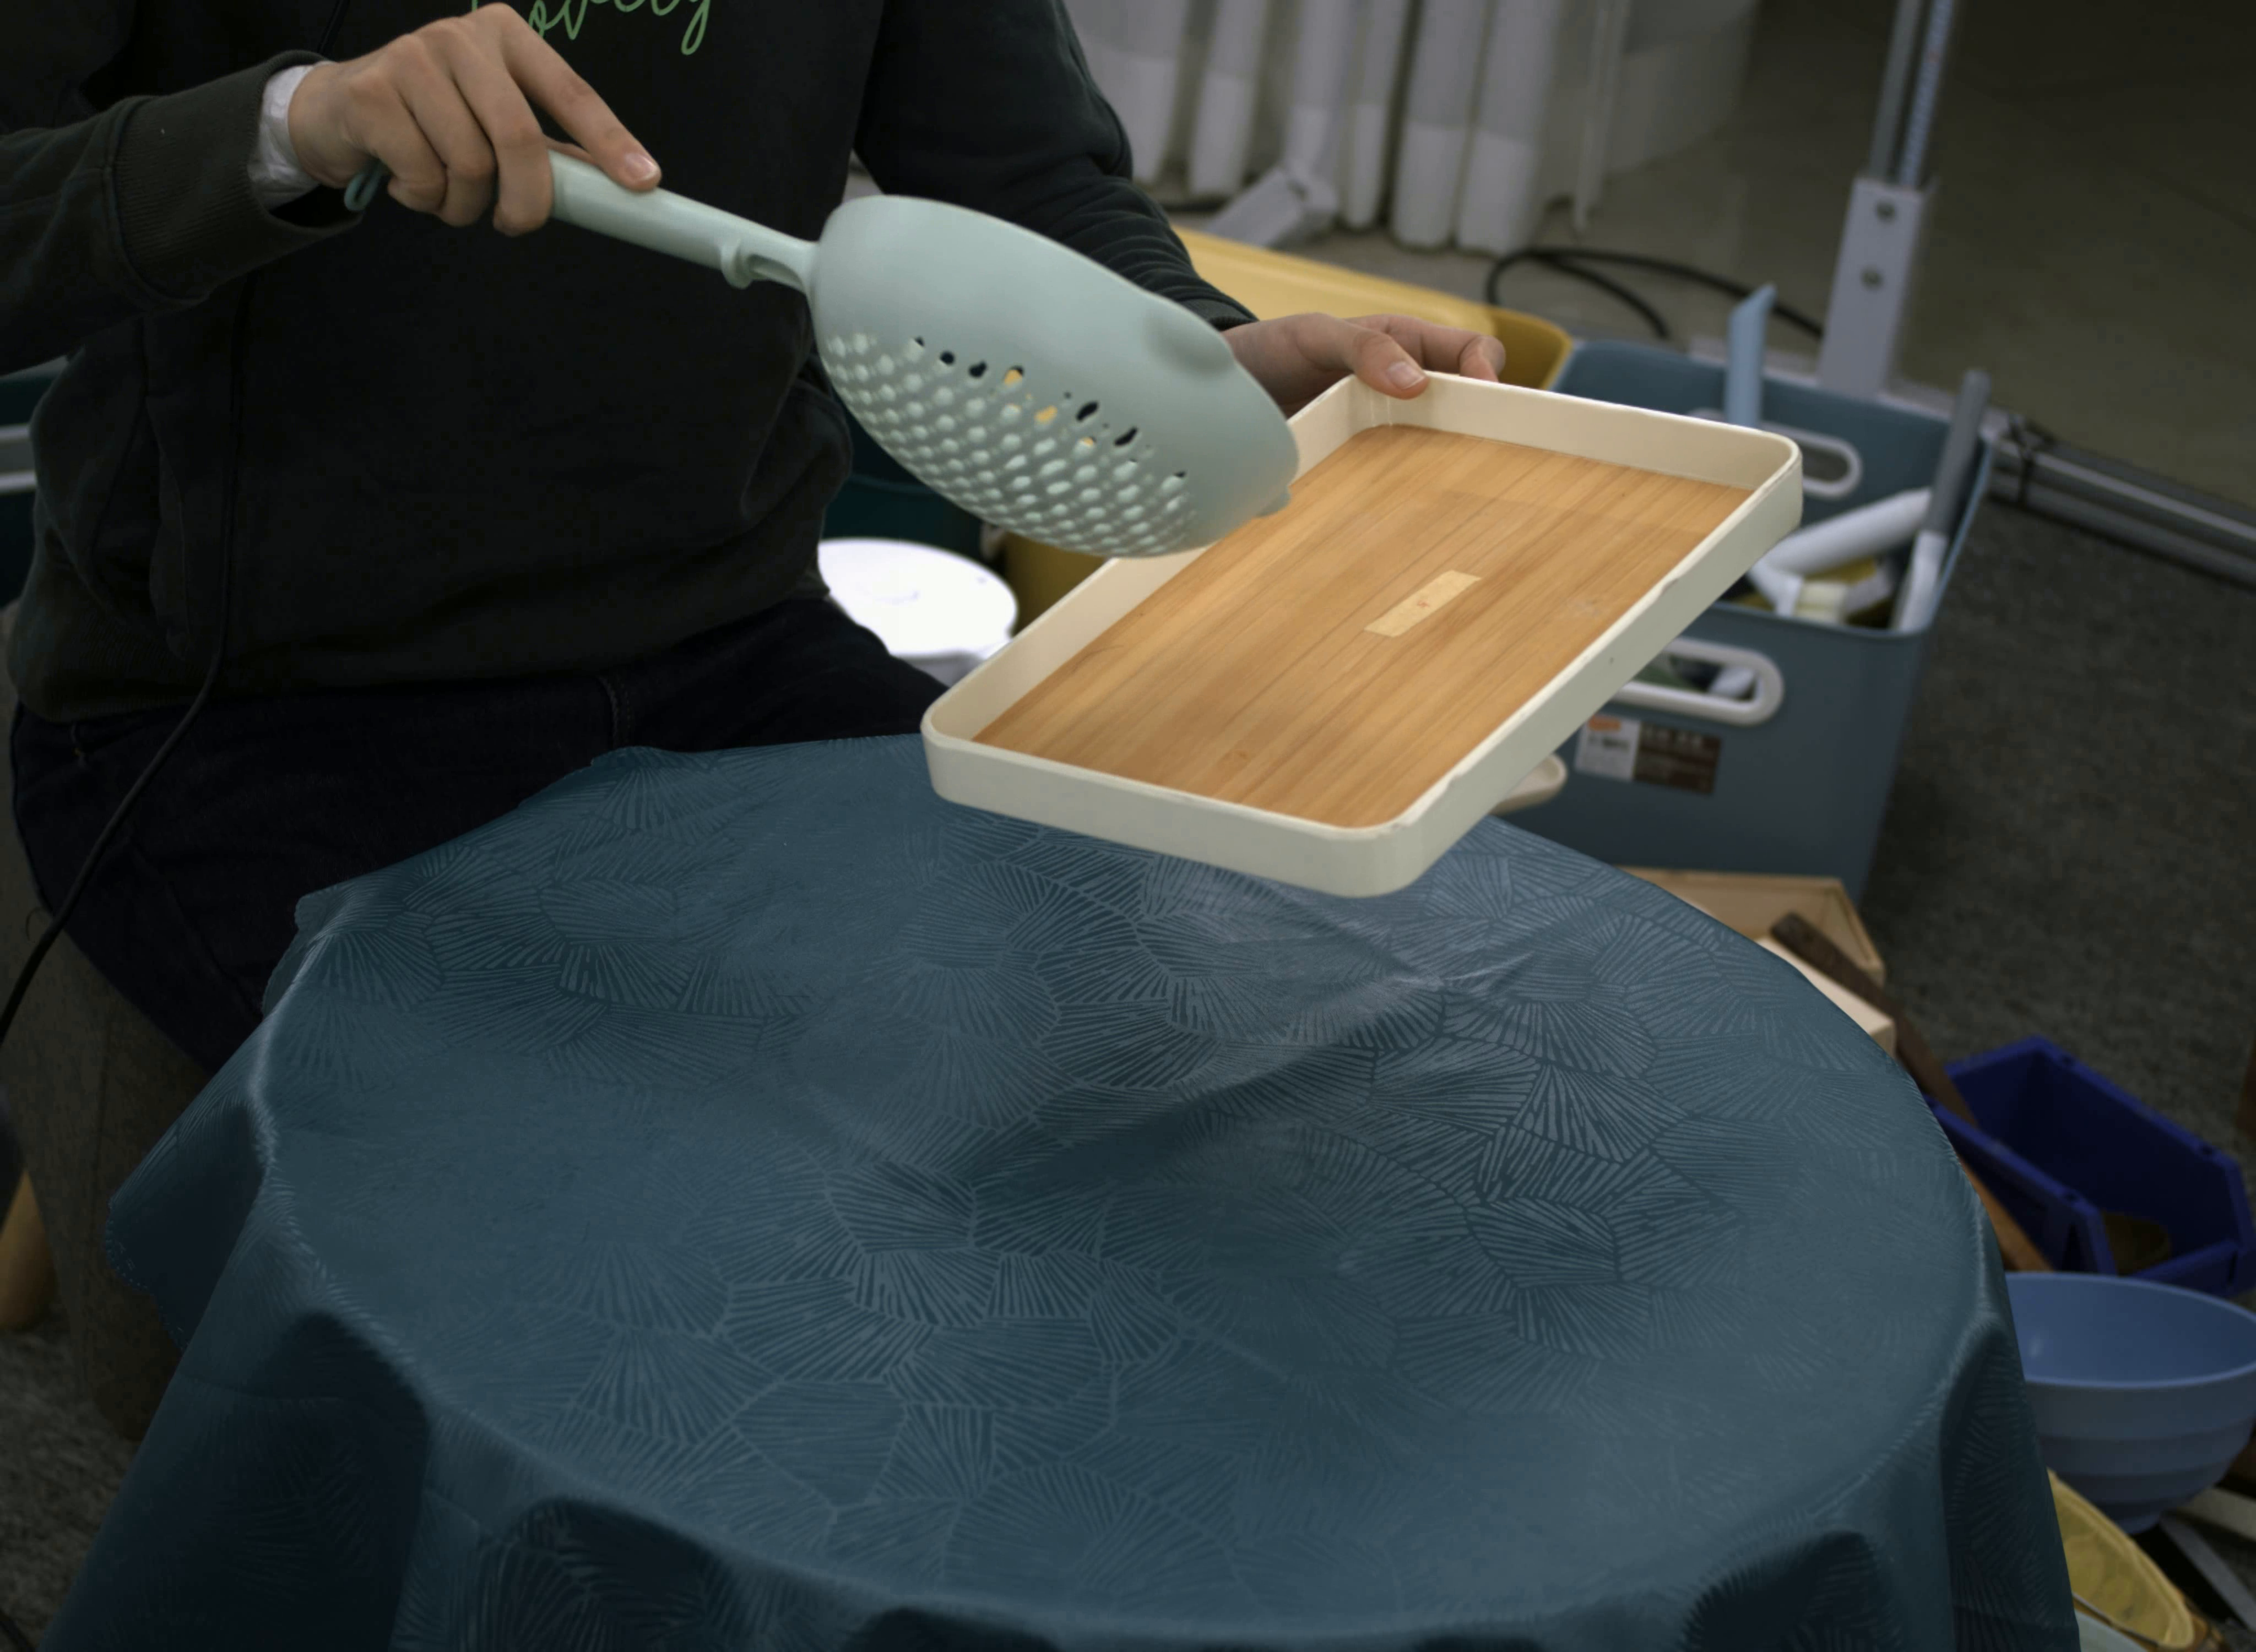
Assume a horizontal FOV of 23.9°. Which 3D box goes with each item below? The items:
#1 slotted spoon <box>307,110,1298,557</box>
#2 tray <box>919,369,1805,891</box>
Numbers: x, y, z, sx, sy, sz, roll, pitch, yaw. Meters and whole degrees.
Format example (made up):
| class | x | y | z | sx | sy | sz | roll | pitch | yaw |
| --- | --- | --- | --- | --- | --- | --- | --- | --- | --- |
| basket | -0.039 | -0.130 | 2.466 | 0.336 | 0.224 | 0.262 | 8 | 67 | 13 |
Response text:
| class | x | y | z | sx | sy | sz | roll | pitch | yaw |
| --- | --- | --- | --- | --- | --- | --- | --- | --- | --- |
| slotted spoon | -0.113 | -0.176 | 1.738 | 0.360 | 0.168 | 0.075 | 30 | 76 | 22 |
| tray | 0.085 | -0.073 | 1.823 | 0.192 | 0.027 | 0.300 | 13 | 35 | 33 |
